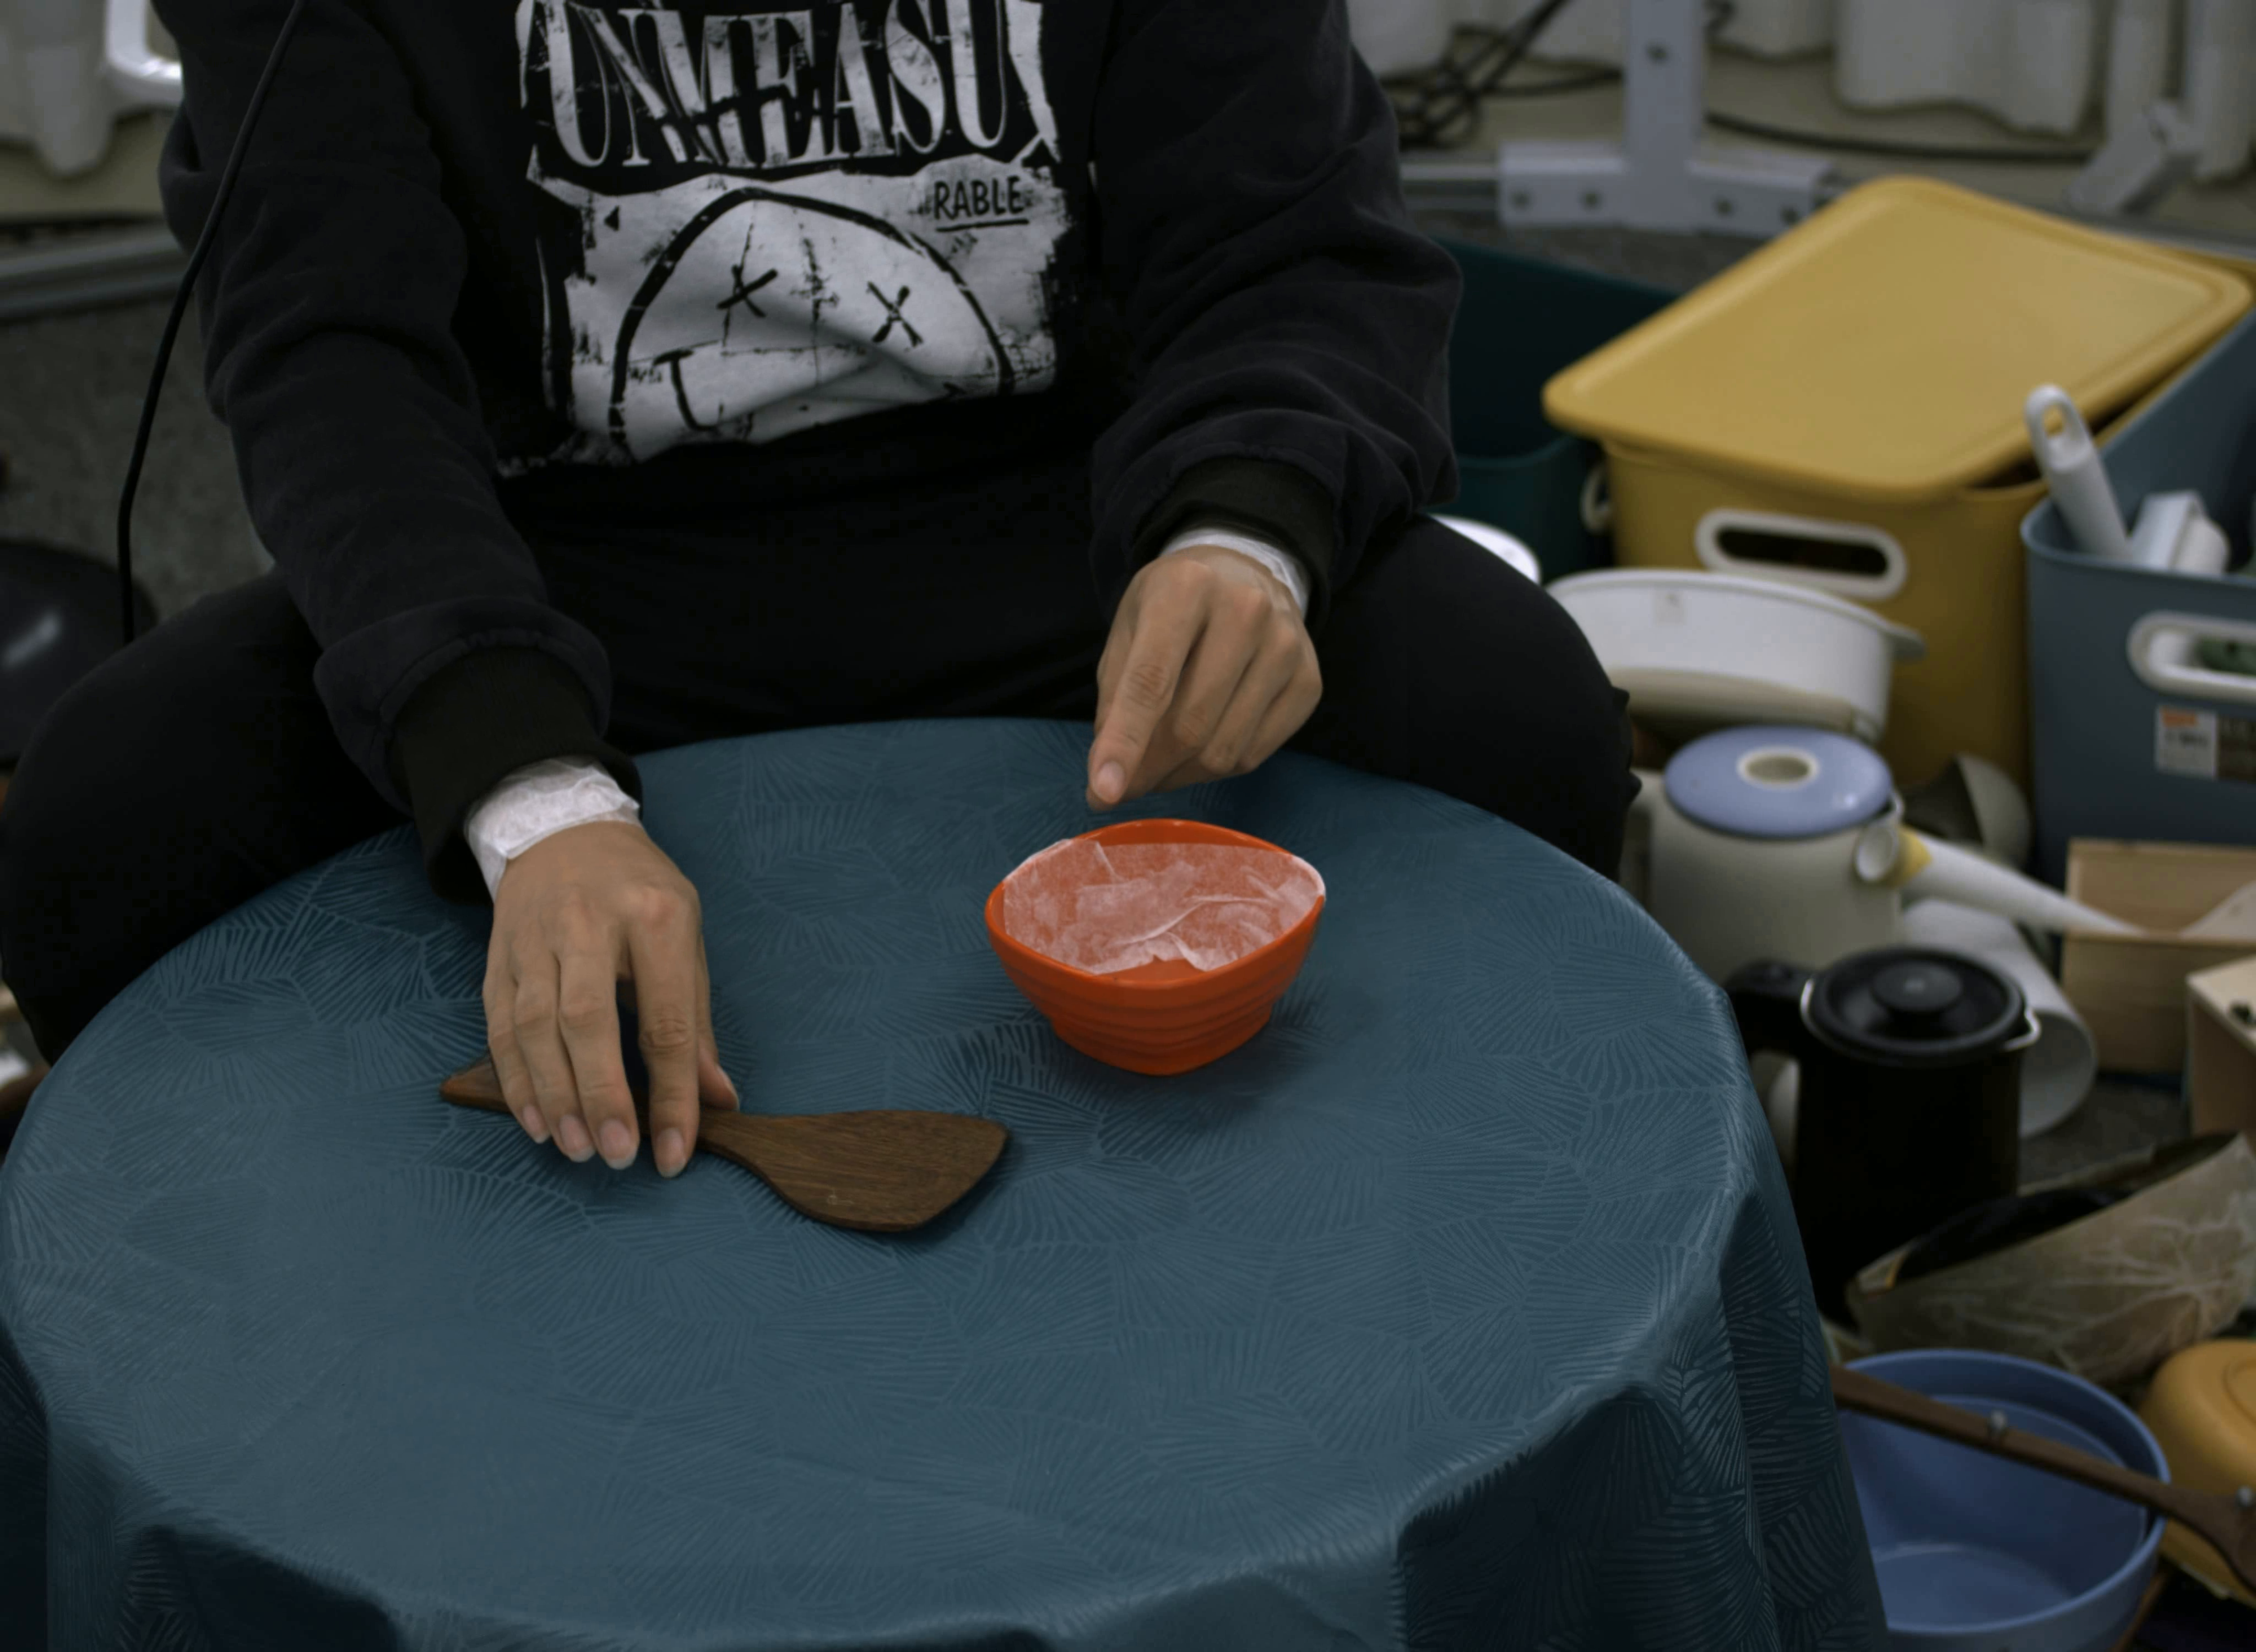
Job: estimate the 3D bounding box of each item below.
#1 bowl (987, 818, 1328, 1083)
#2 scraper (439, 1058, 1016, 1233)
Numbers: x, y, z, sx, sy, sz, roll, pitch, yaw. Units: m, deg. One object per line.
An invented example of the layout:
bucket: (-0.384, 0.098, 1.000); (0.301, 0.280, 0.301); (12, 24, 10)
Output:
bowl: (0.011, 0.047, 1.950); (0.118, 0.051, 0.121); (-2, 29, 2)
scraper: (-0.141, 0.104, 1.902); (0.210, 0.011, 0.077); (10, 29, 25)
